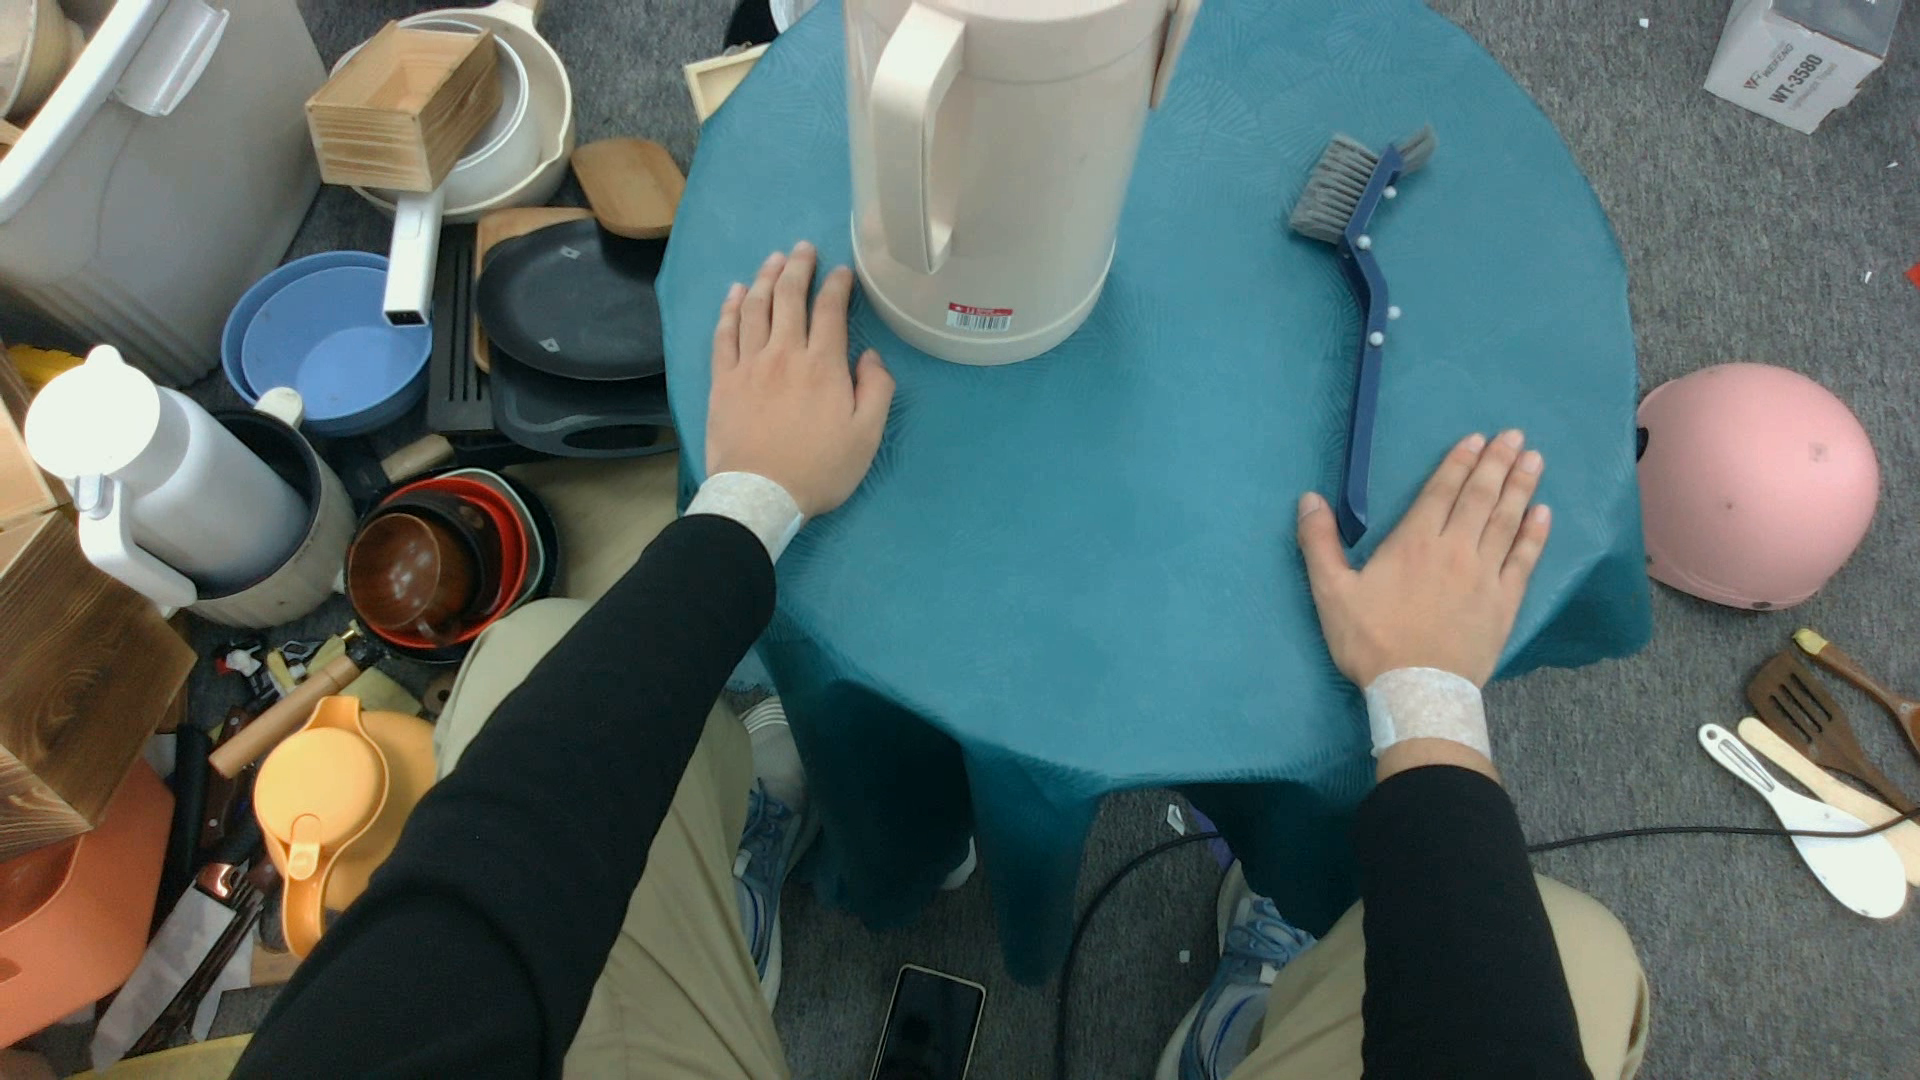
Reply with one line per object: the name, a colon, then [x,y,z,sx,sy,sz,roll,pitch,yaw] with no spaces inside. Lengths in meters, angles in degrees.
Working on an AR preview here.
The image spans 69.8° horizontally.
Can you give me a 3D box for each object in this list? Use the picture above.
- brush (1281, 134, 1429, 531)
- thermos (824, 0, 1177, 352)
brush: [0.245,-0.134,0.831,0.096,0.033,0.274,3,68,-1]
thermos: [0.005,-0.239,0.662,0.175,0.405,0.208,25,71,4]
